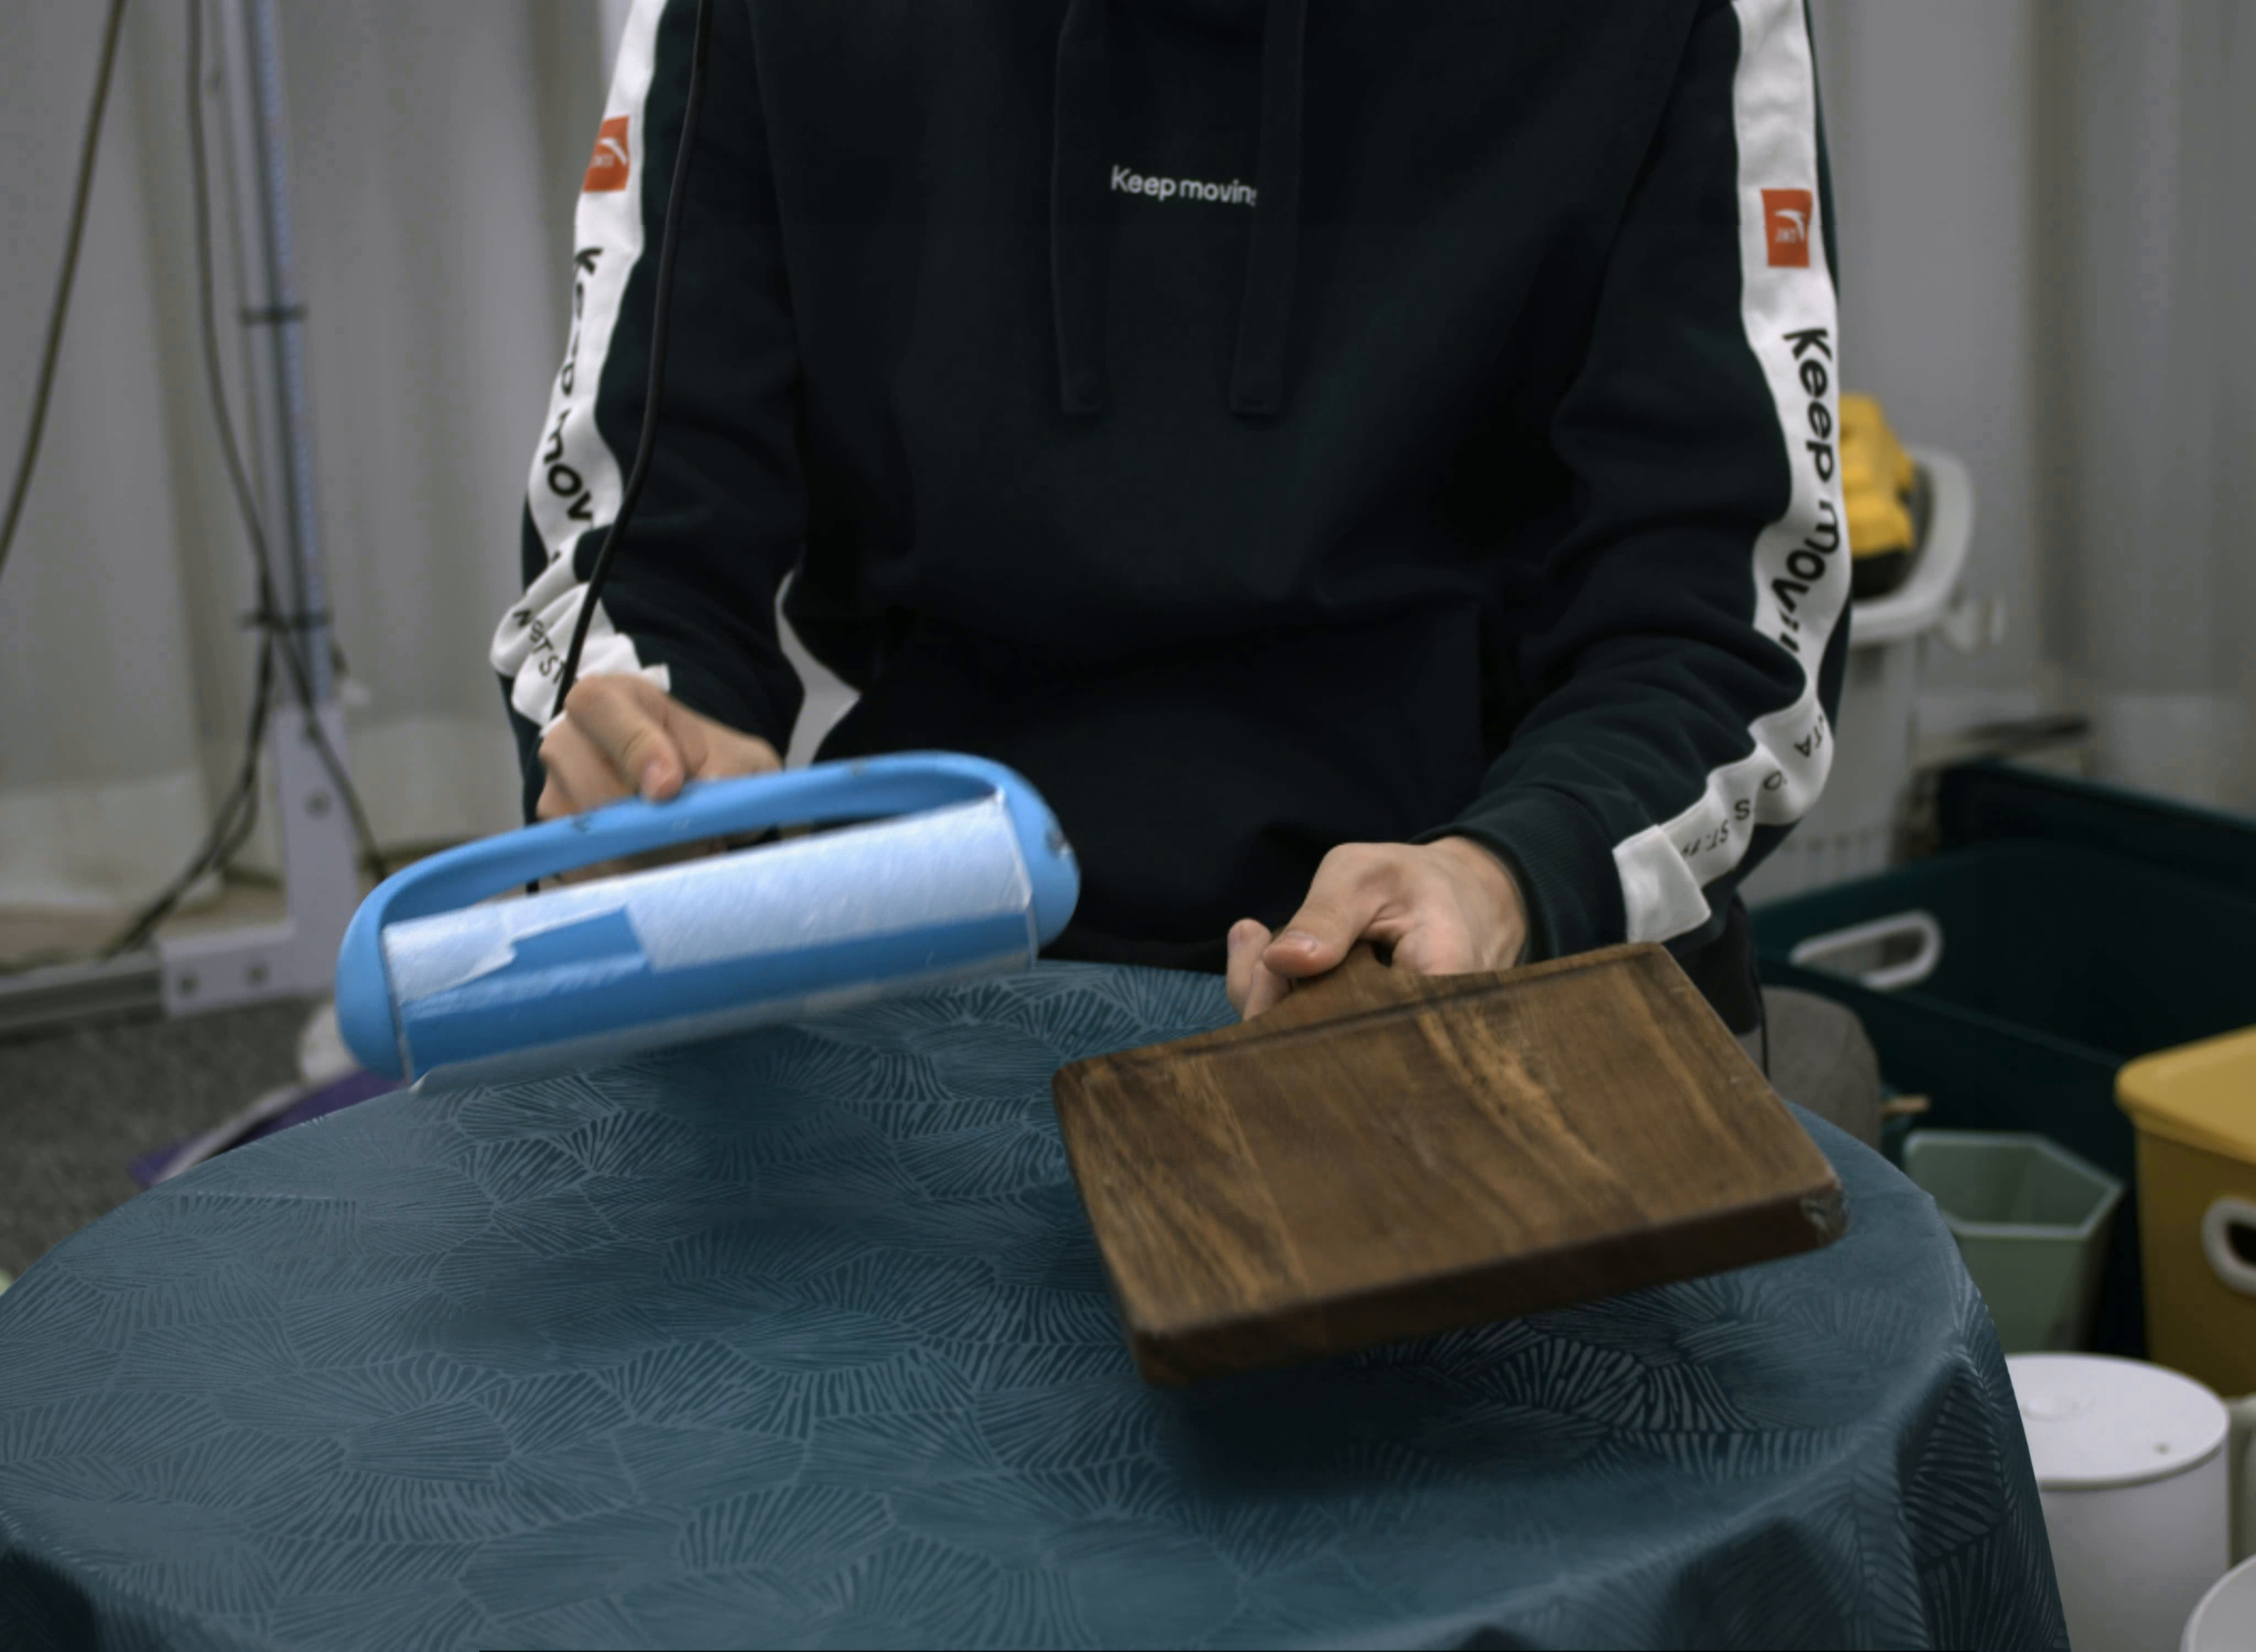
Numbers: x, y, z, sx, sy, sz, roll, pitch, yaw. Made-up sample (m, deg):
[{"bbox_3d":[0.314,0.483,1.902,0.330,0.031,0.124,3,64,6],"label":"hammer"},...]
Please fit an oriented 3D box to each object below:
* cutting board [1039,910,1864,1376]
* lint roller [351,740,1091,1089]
[{"bbox_3d":[0.079,0.078,1.617,0.200,0.023,0.354,-11,15,-4],"label":"cutting board"},{"bbox_3d":[-0.136,0.015,1.718,0.228,0.067,0.182,-15,18,-9],"label":"lint roller"}]
